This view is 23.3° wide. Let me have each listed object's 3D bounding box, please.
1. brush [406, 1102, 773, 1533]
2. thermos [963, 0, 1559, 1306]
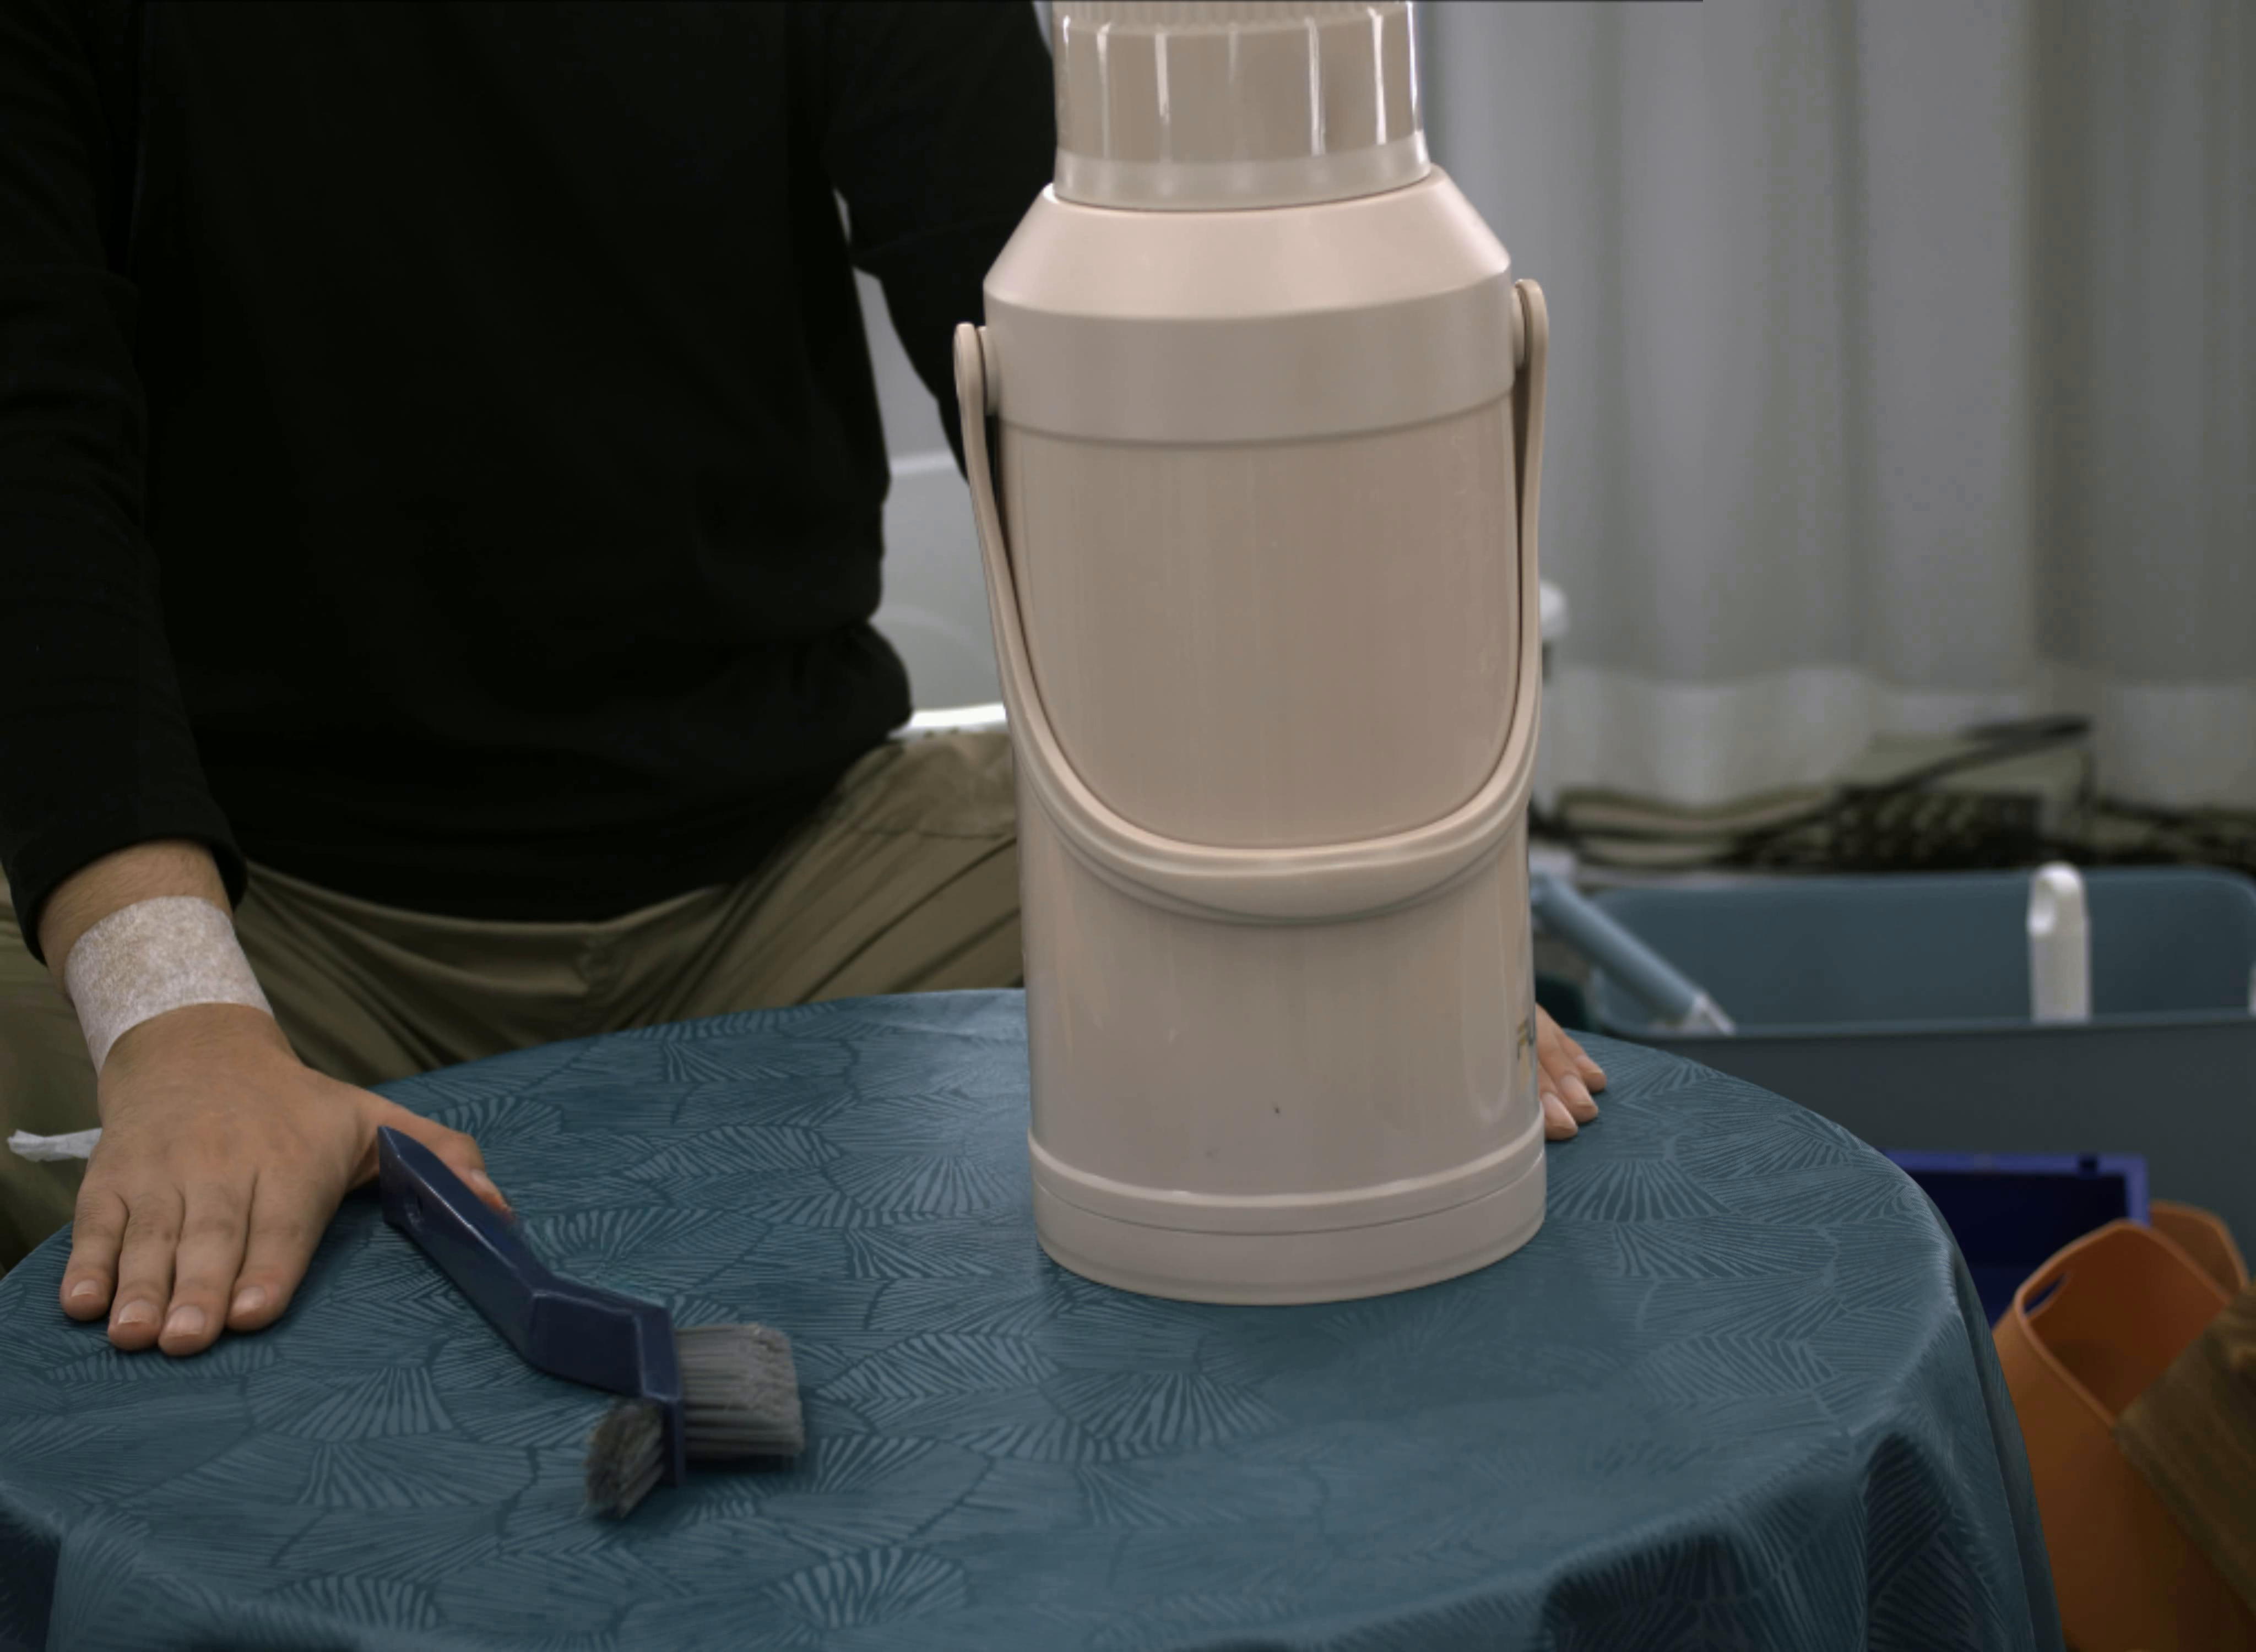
[{"bbox_3d":[-0.180,0.139,1.593,0.095,0.033,0.275,-10,18,-30],"label":"brush"},{"bbox_3d":[0.042,-0.074,1.650,0.174,0.405,0.208,-6,14,-8],"label":"thermos"}]
